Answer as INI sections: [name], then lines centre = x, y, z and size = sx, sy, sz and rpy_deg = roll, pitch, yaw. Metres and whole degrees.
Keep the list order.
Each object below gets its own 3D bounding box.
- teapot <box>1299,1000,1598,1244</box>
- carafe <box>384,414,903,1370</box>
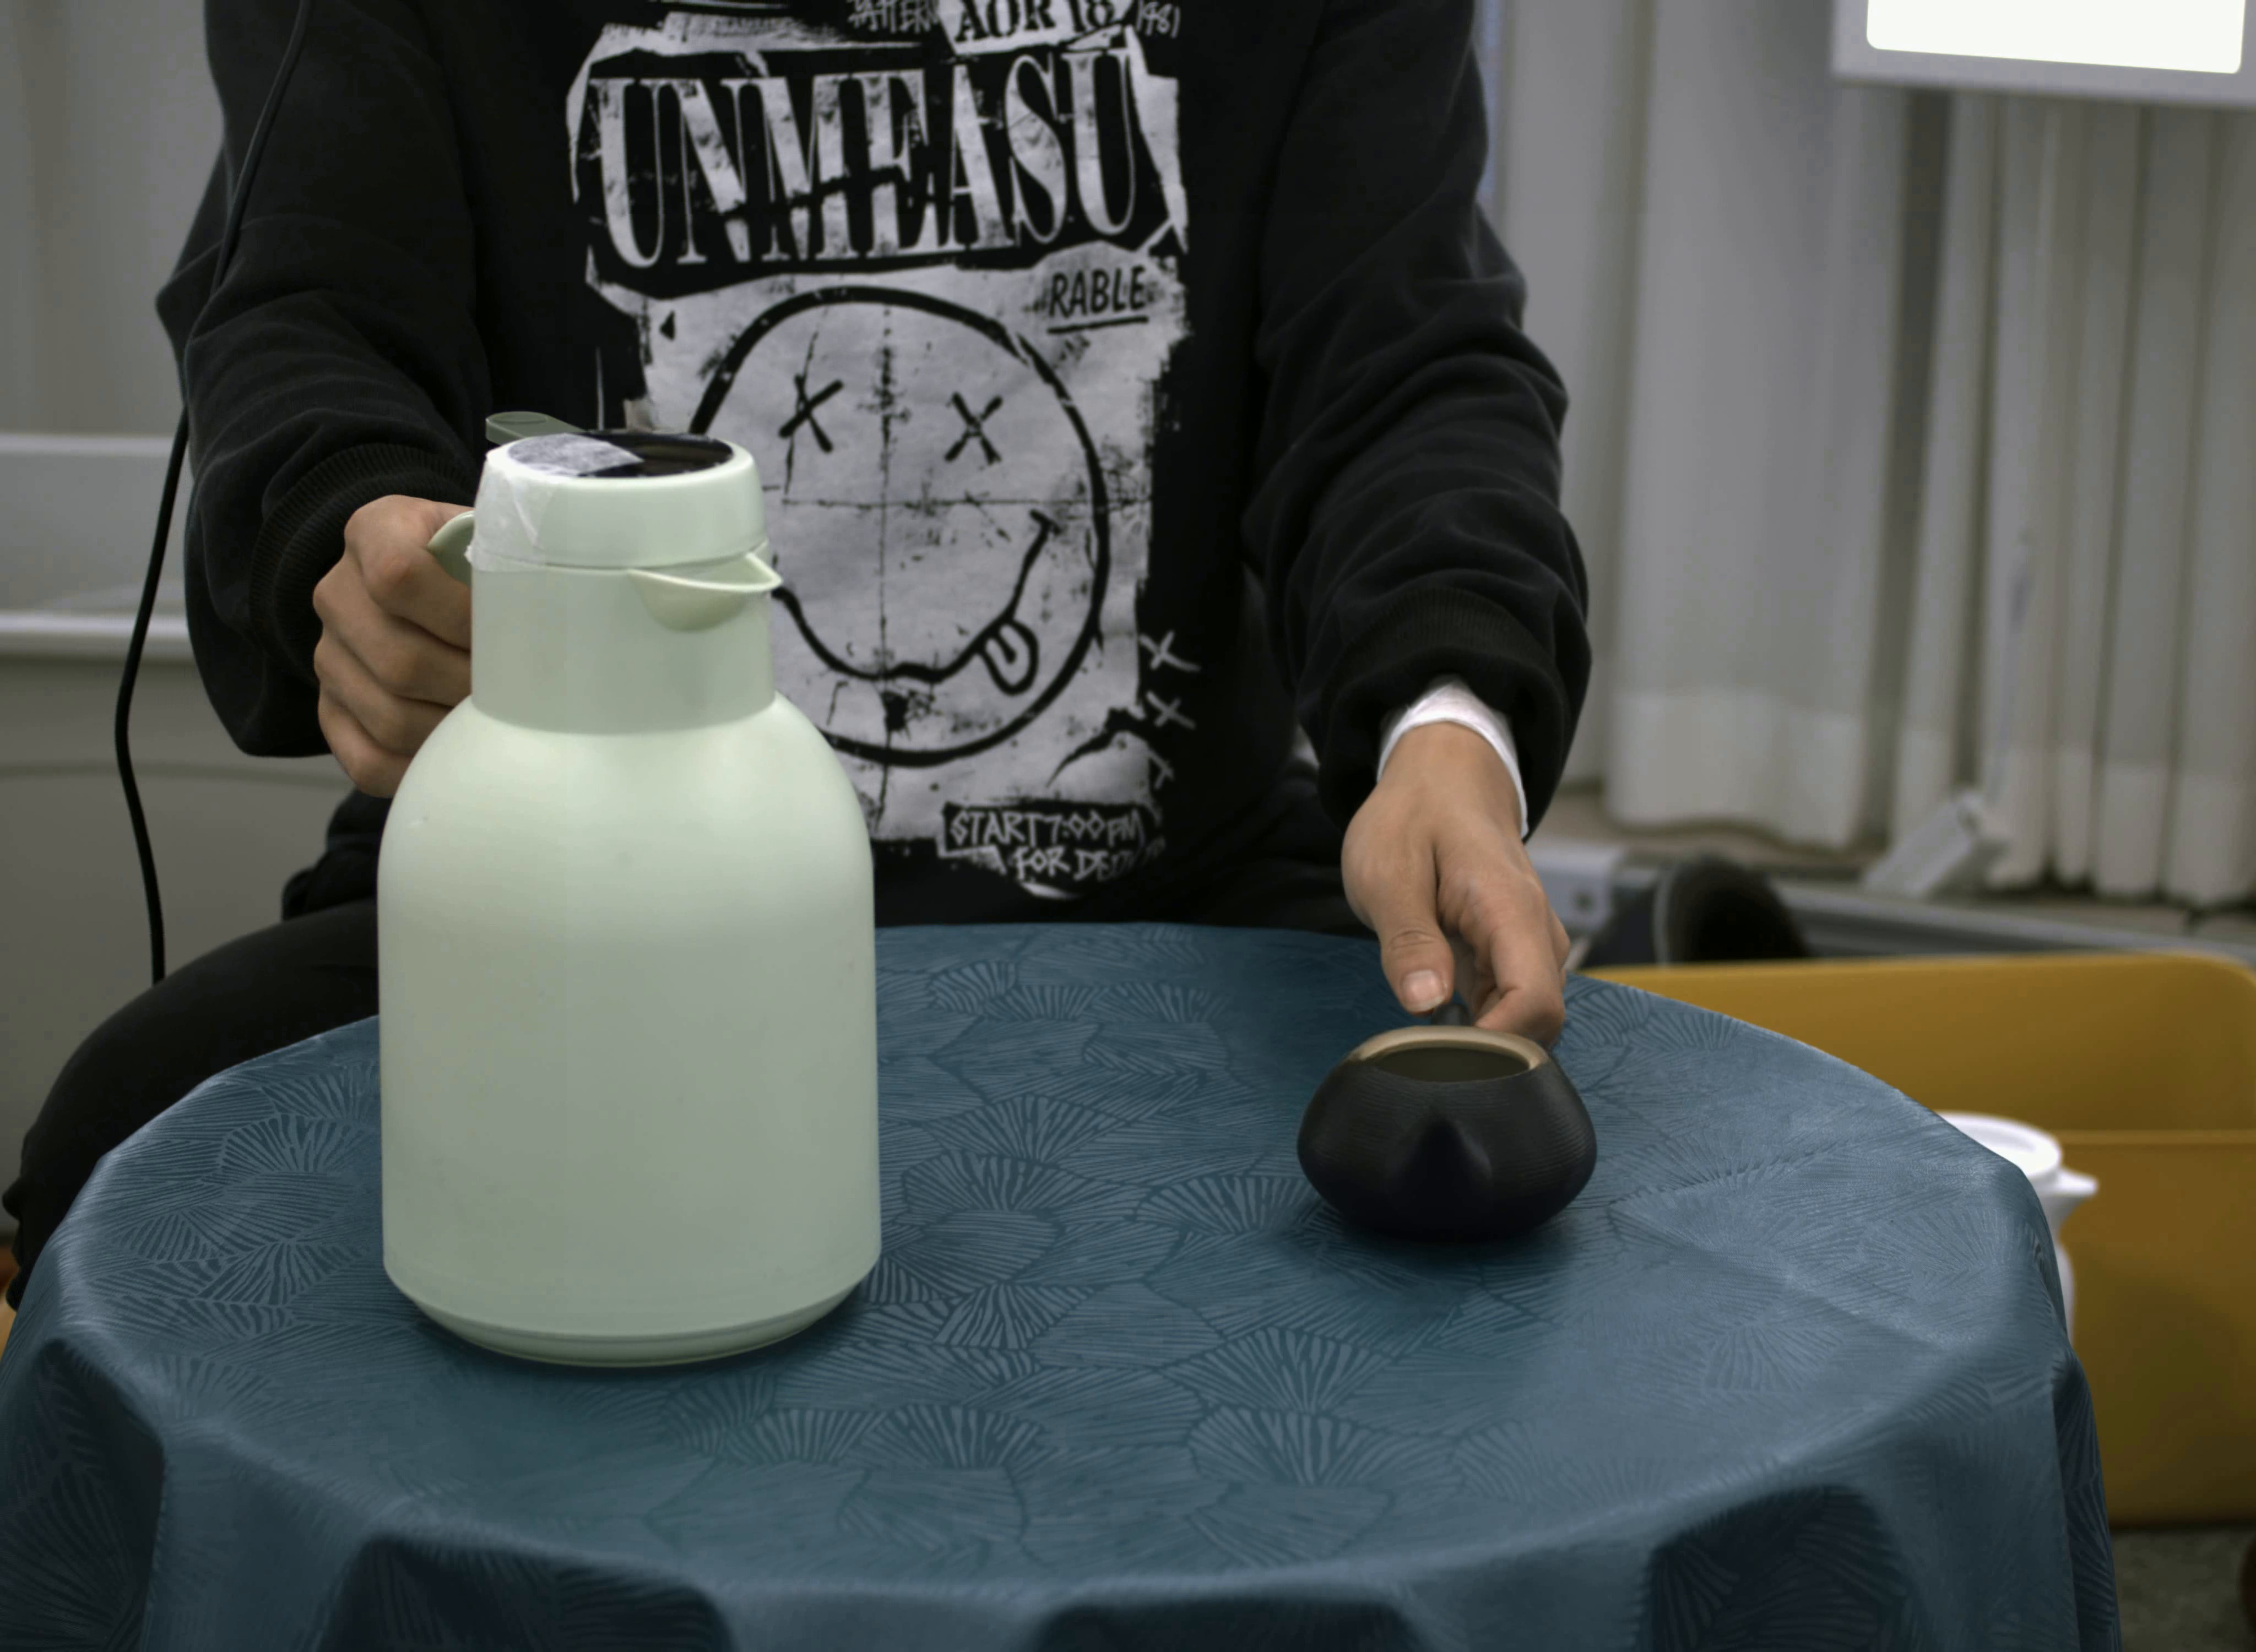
[teapot]
centre = 0.097, 0.093, 1.595
size = 0.090, 0.053, 0.132
rpy_deg = 3, 16, 4
[carafe]
centre = -0.149, 0.013, 1.508
size = 0.145, 0.259, 0.184
rpy_deg = -14, 18, -34
